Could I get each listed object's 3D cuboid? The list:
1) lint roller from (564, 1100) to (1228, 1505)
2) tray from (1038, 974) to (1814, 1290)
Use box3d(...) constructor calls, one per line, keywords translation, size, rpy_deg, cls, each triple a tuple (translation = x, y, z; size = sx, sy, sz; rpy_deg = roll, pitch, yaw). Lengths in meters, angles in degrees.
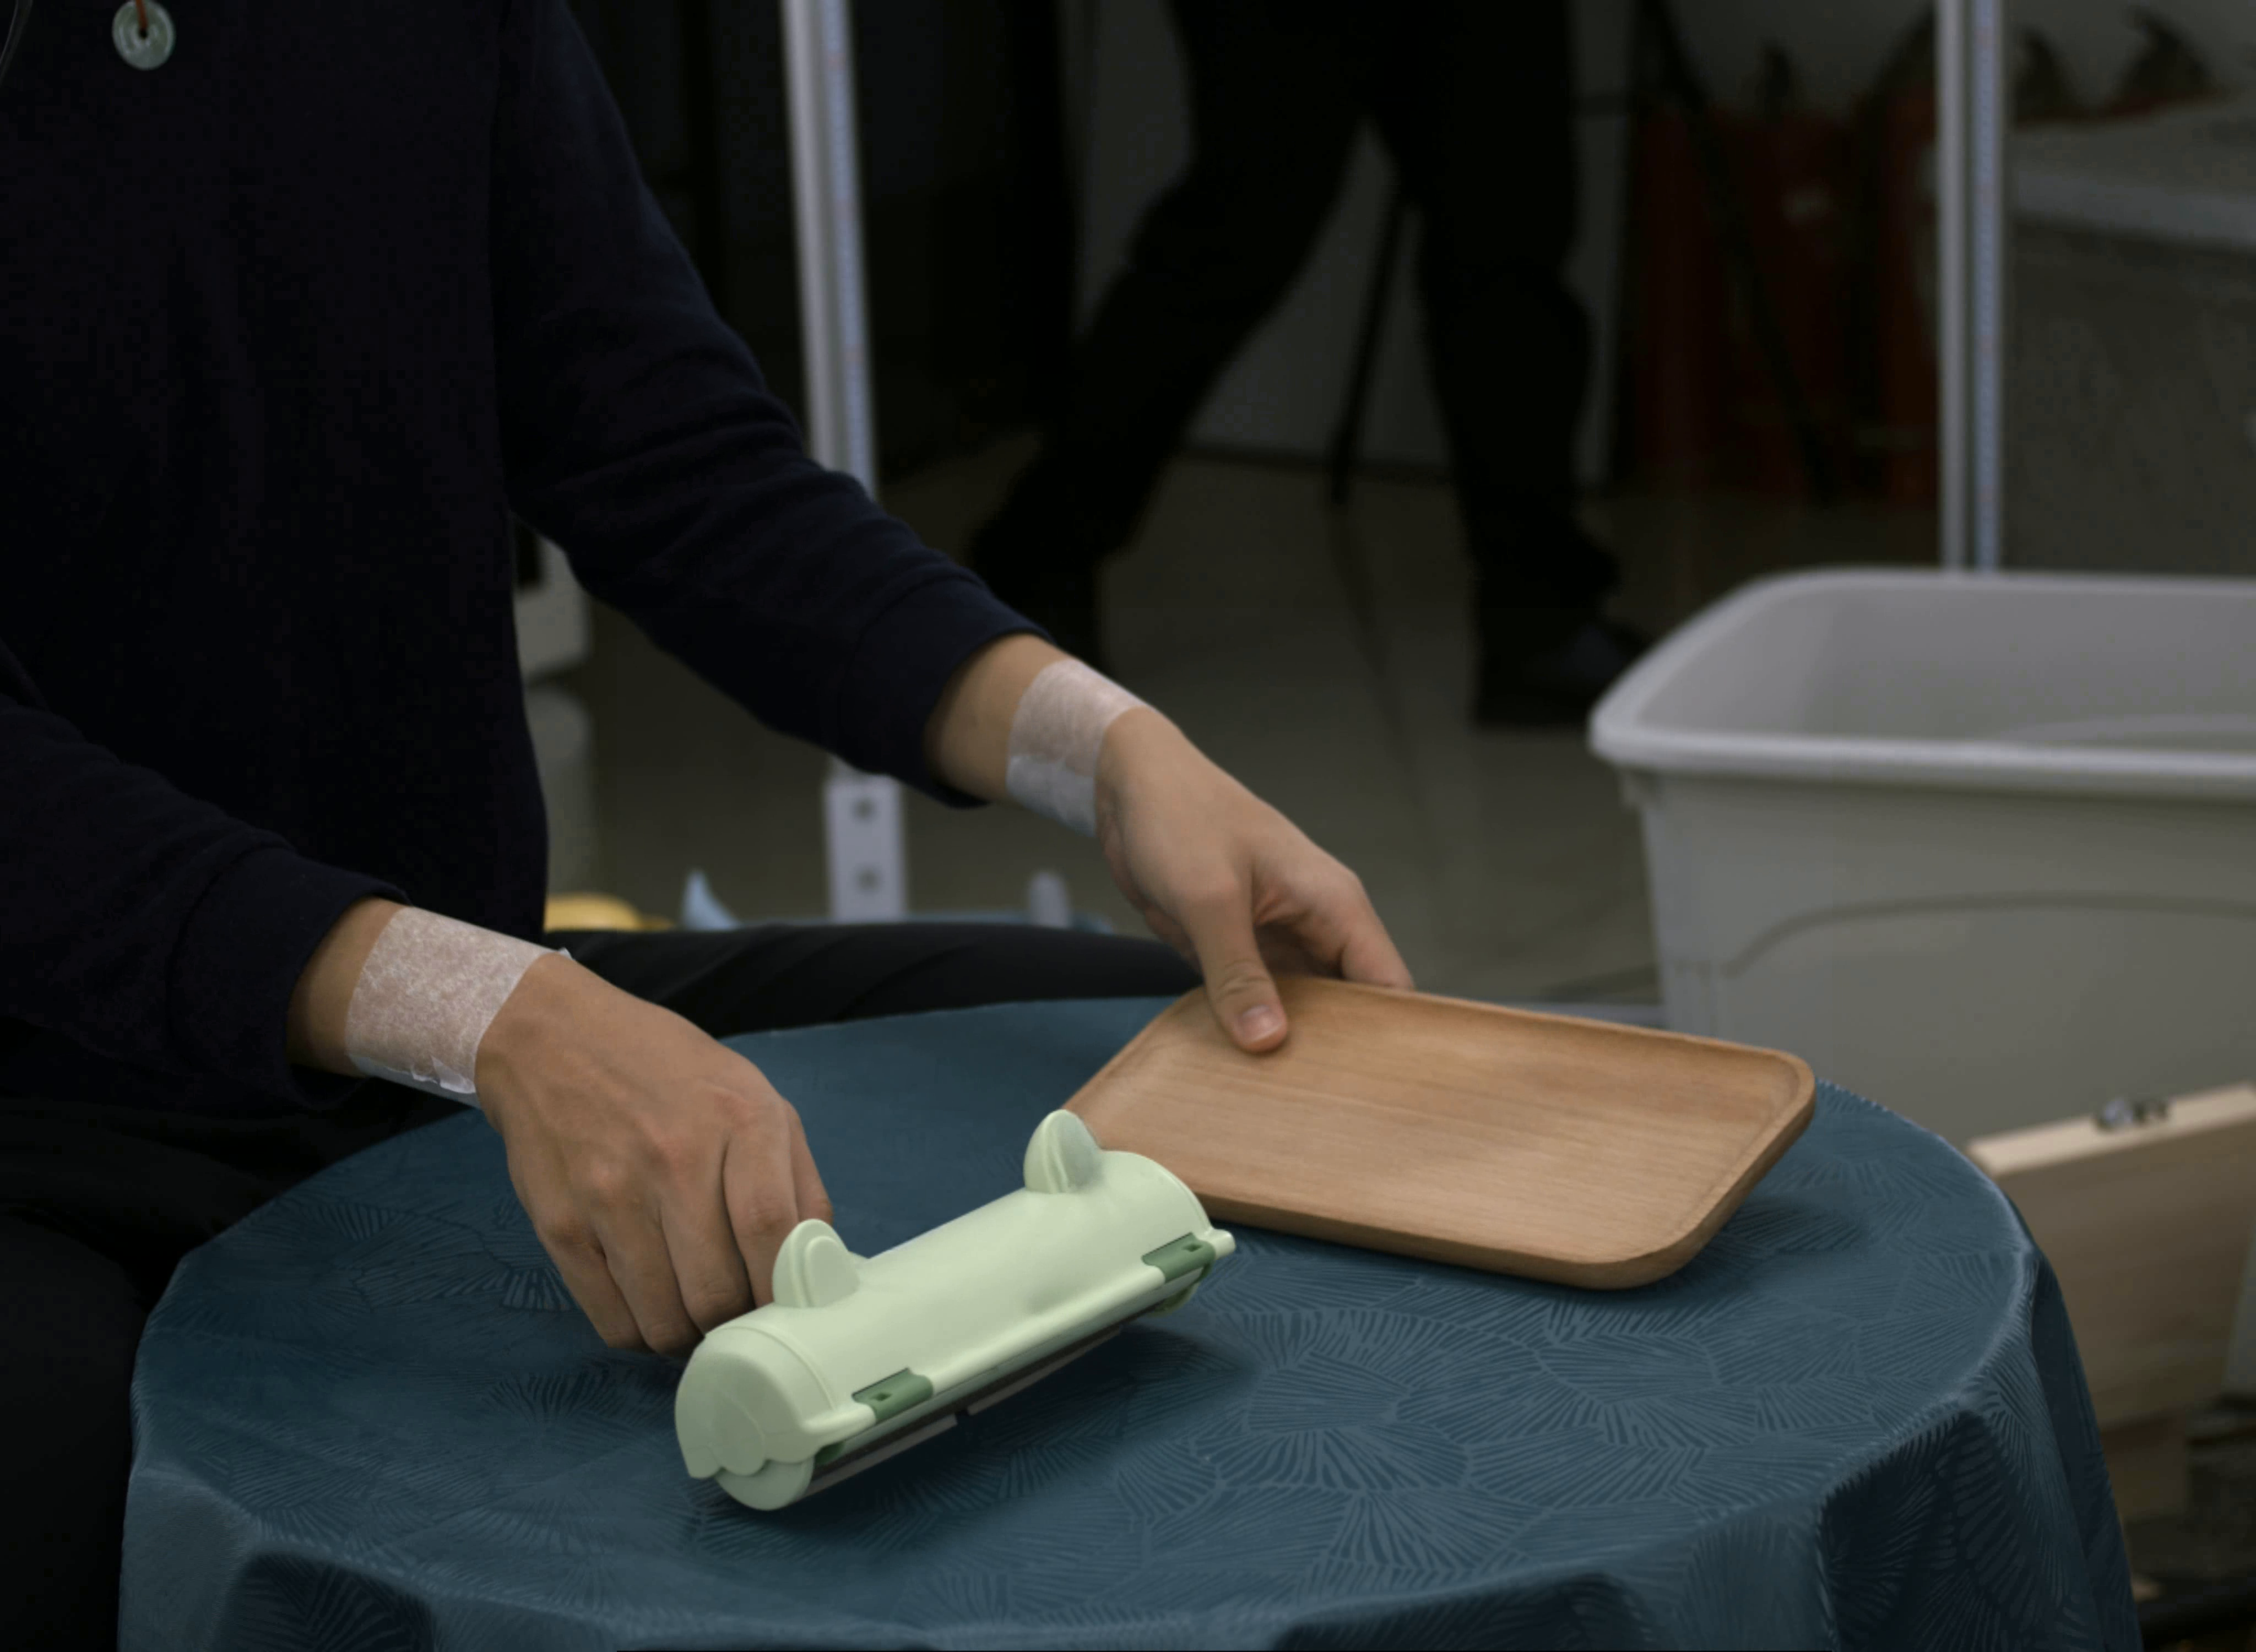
box3d(translation=(-0.094, 0.119, 1.593), size=(0.184, 0.083, 0.195), rpy_deg=(22, 25, 32), cls="lint roller")
box3d(translation=(0.095, 0.097, 1.740), size=(0.252, 0.023, 0.129), rpy_deg=(6, 31, 38), cls="tray")
